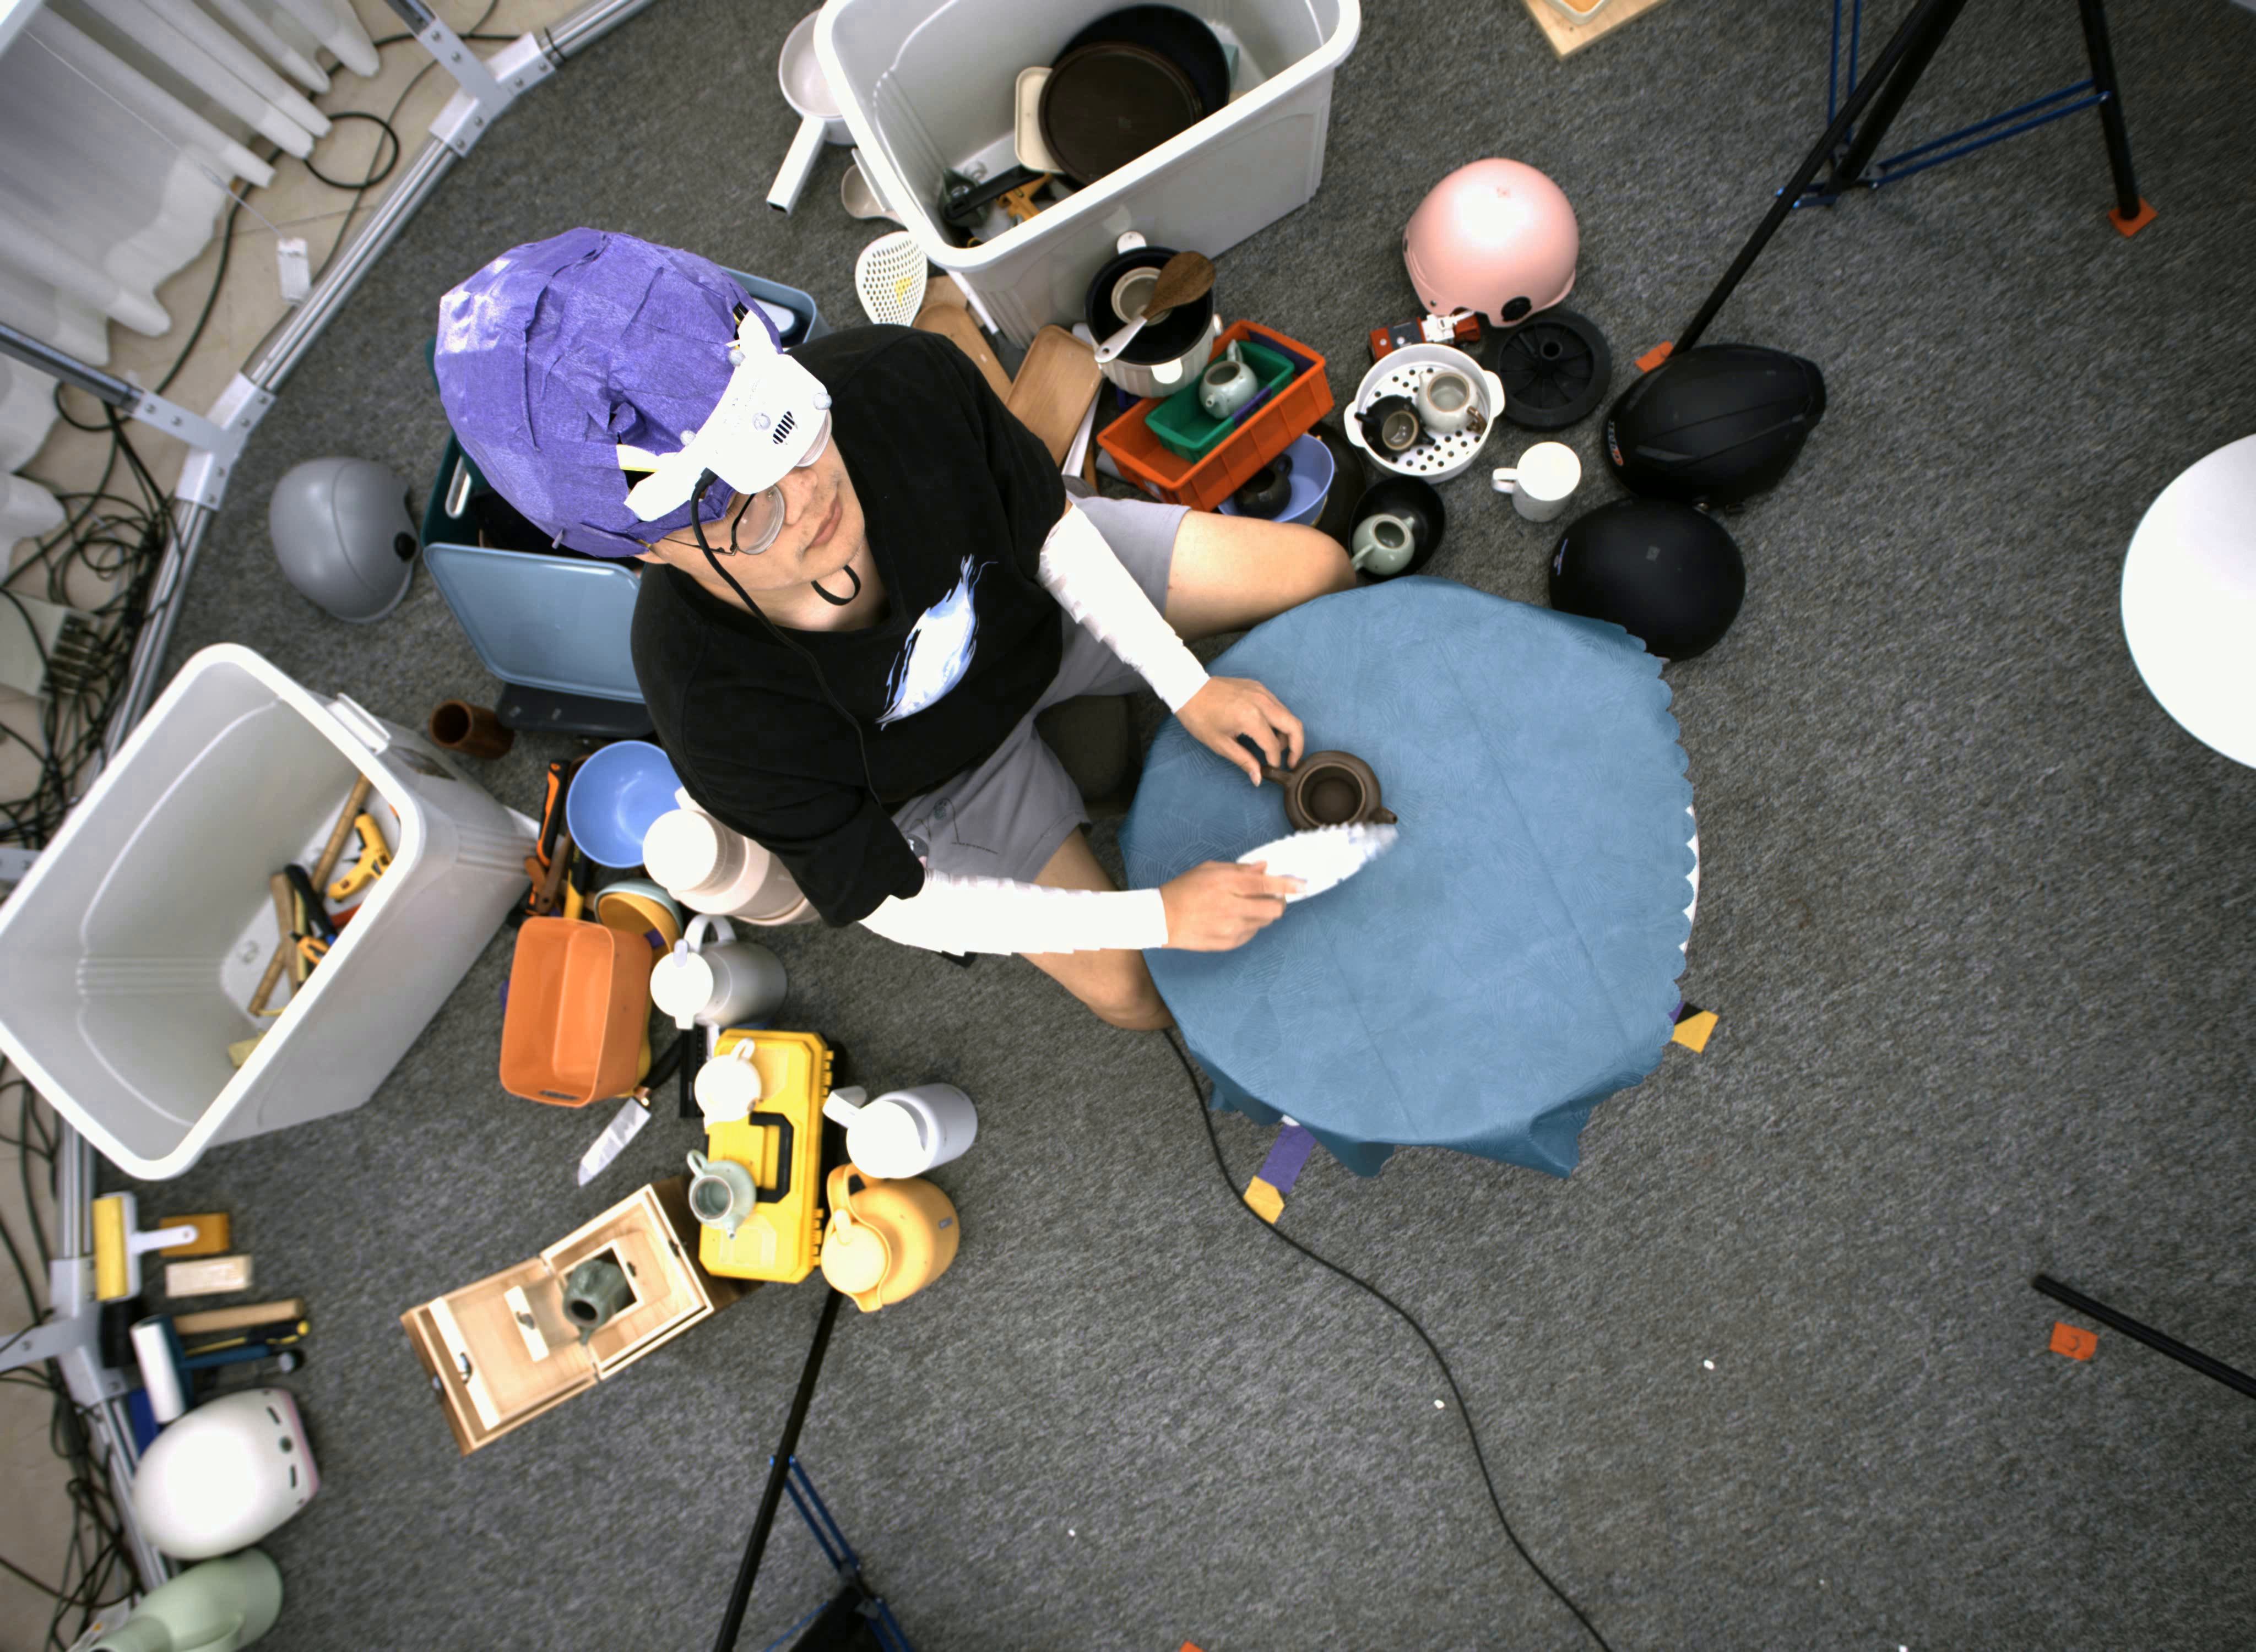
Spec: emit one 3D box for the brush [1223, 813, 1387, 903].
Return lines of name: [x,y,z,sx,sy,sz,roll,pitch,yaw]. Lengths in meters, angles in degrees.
brush: [0.171,0.033,1.381,0.178,0.092,0.062,-22,102,36]

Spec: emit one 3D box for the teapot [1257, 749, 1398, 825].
teapot: [0.209,-0.032,1.448,0.153,0.054,0.102,16,88,11]
